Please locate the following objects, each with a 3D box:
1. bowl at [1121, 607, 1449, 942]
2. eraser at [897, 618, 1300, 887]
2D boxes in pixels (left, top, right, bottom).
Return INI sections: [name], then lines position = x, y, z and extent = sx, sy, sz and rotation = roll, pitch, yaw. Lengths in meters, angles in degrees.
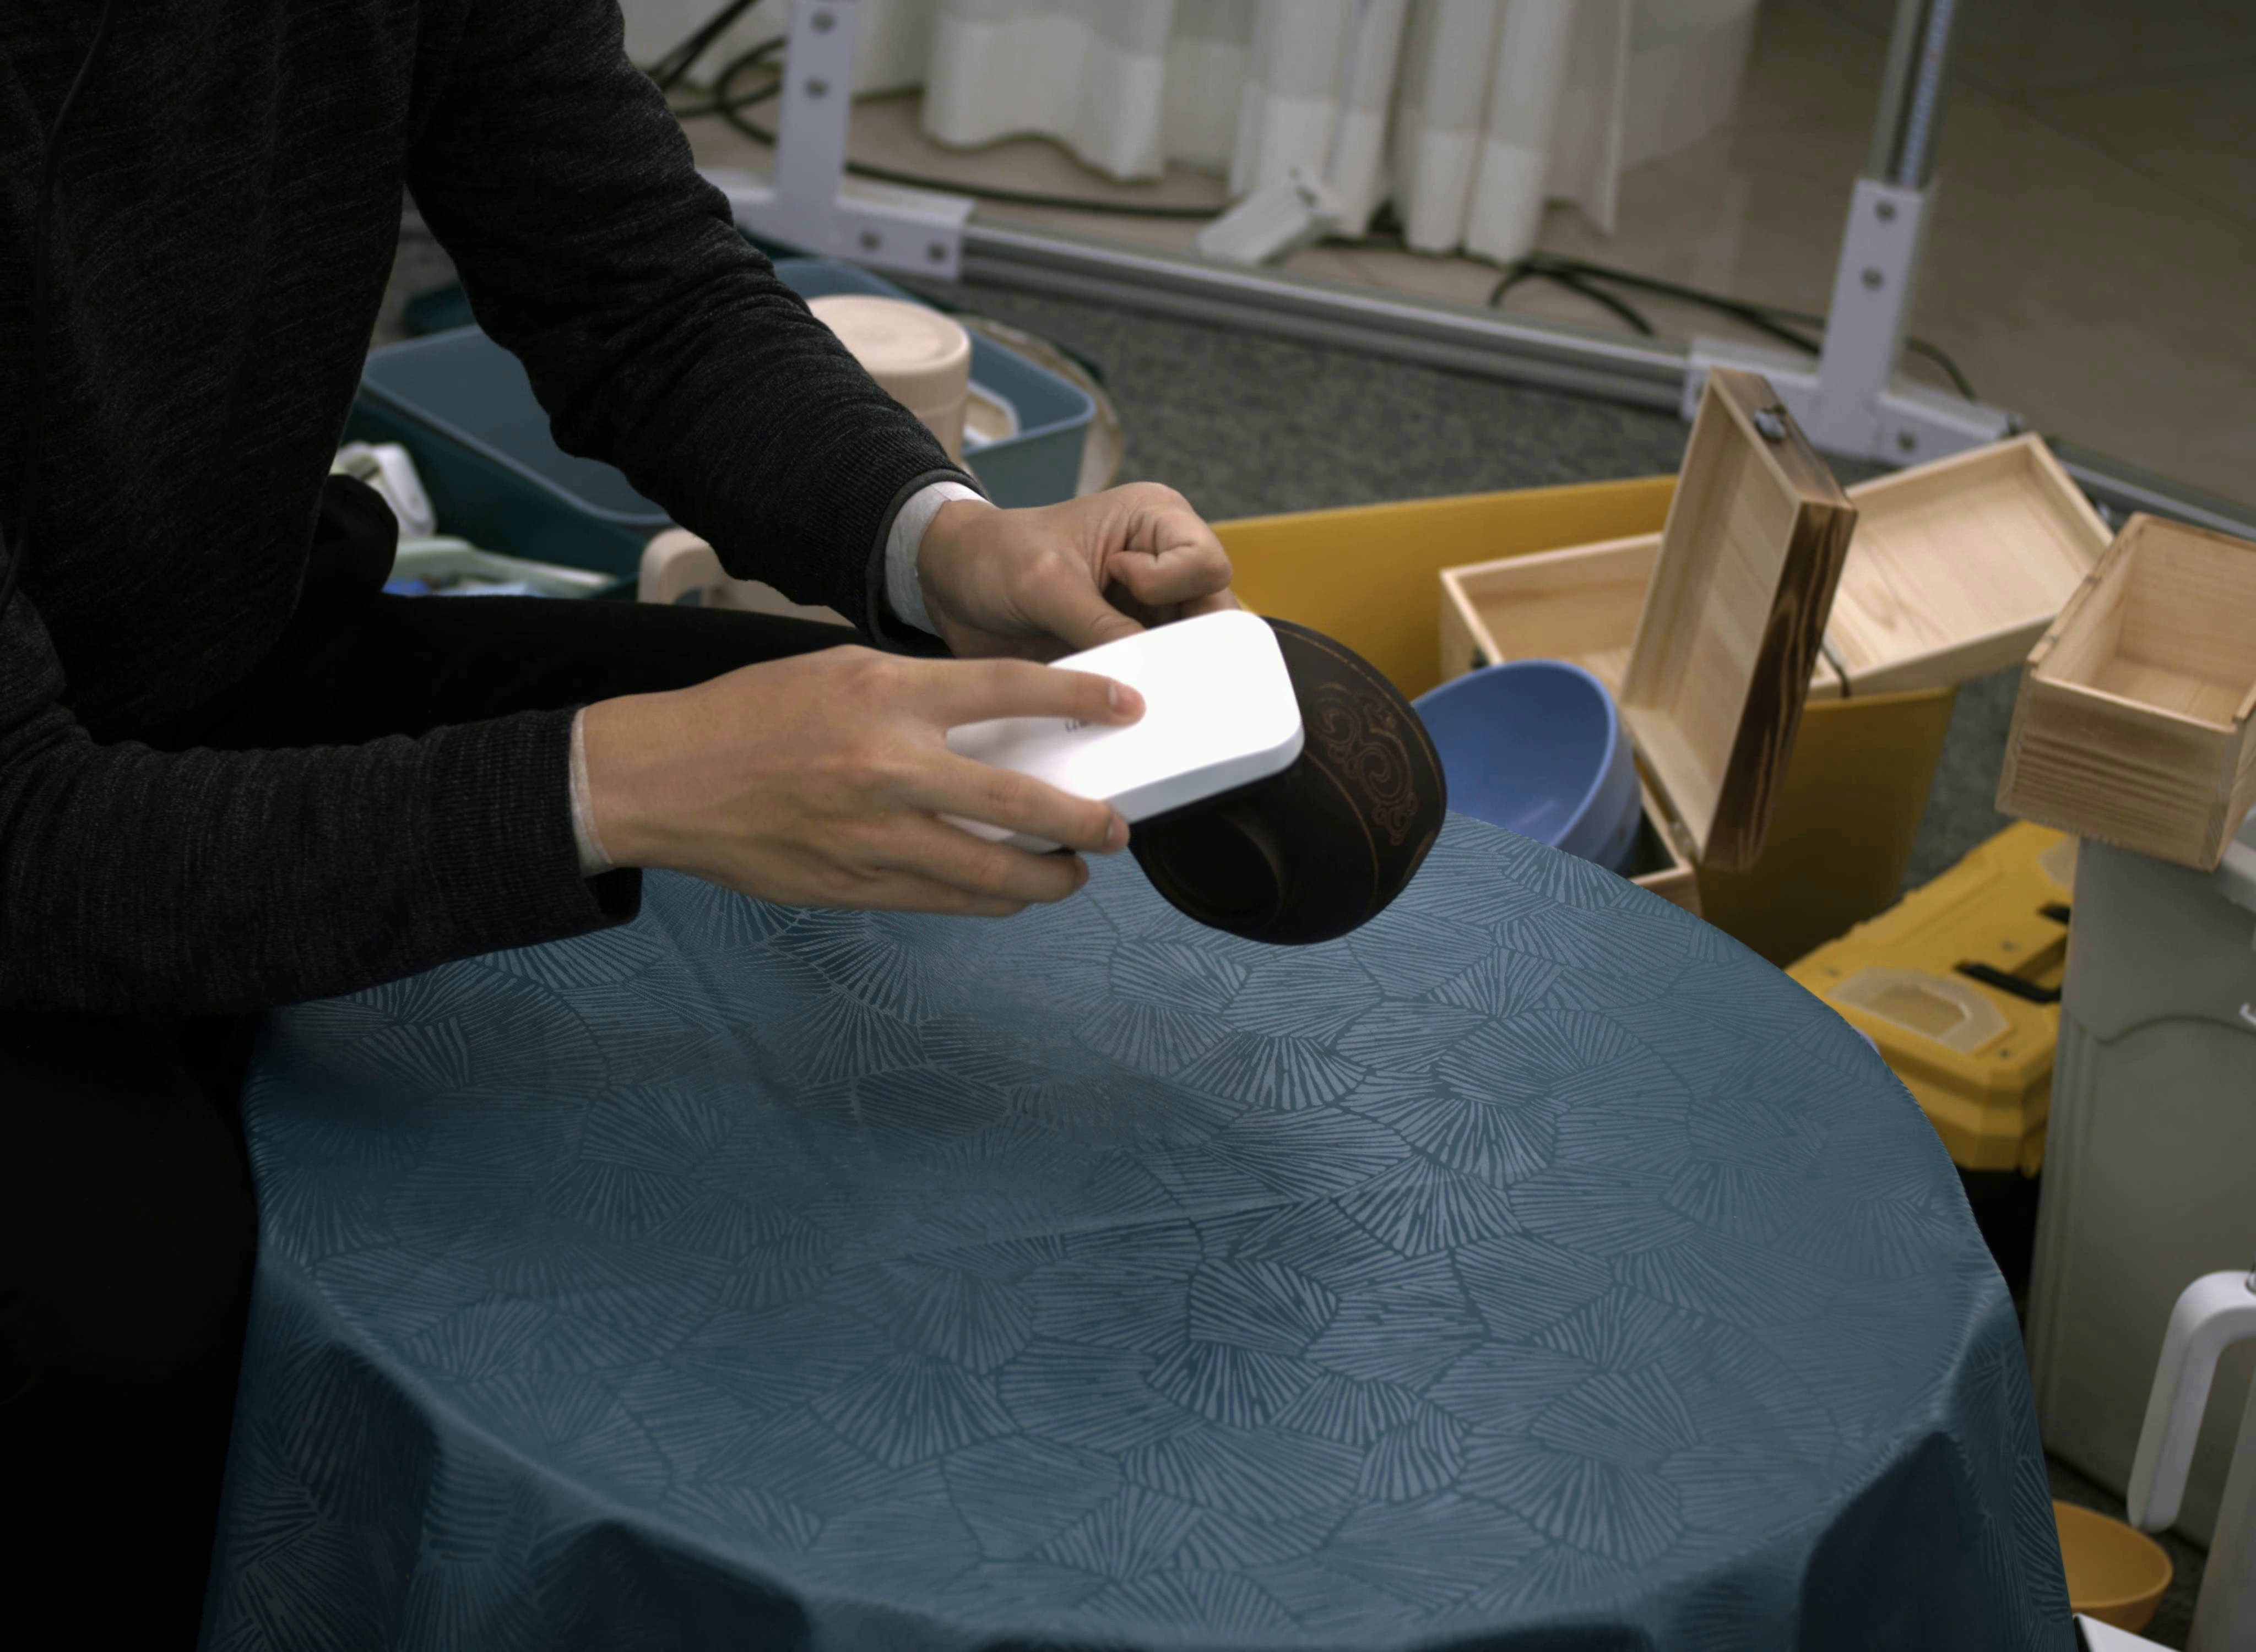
[bowl]
position = 0.043, -0.009, 1.811
extent = 0.118, 0.117, 0.070
rotation = 20, 49, 23
[eraser]
position = -0.010, -0.026, 1.752
extent = 0.131, 0.034, 0.064
rotation = -17, 52, 3
